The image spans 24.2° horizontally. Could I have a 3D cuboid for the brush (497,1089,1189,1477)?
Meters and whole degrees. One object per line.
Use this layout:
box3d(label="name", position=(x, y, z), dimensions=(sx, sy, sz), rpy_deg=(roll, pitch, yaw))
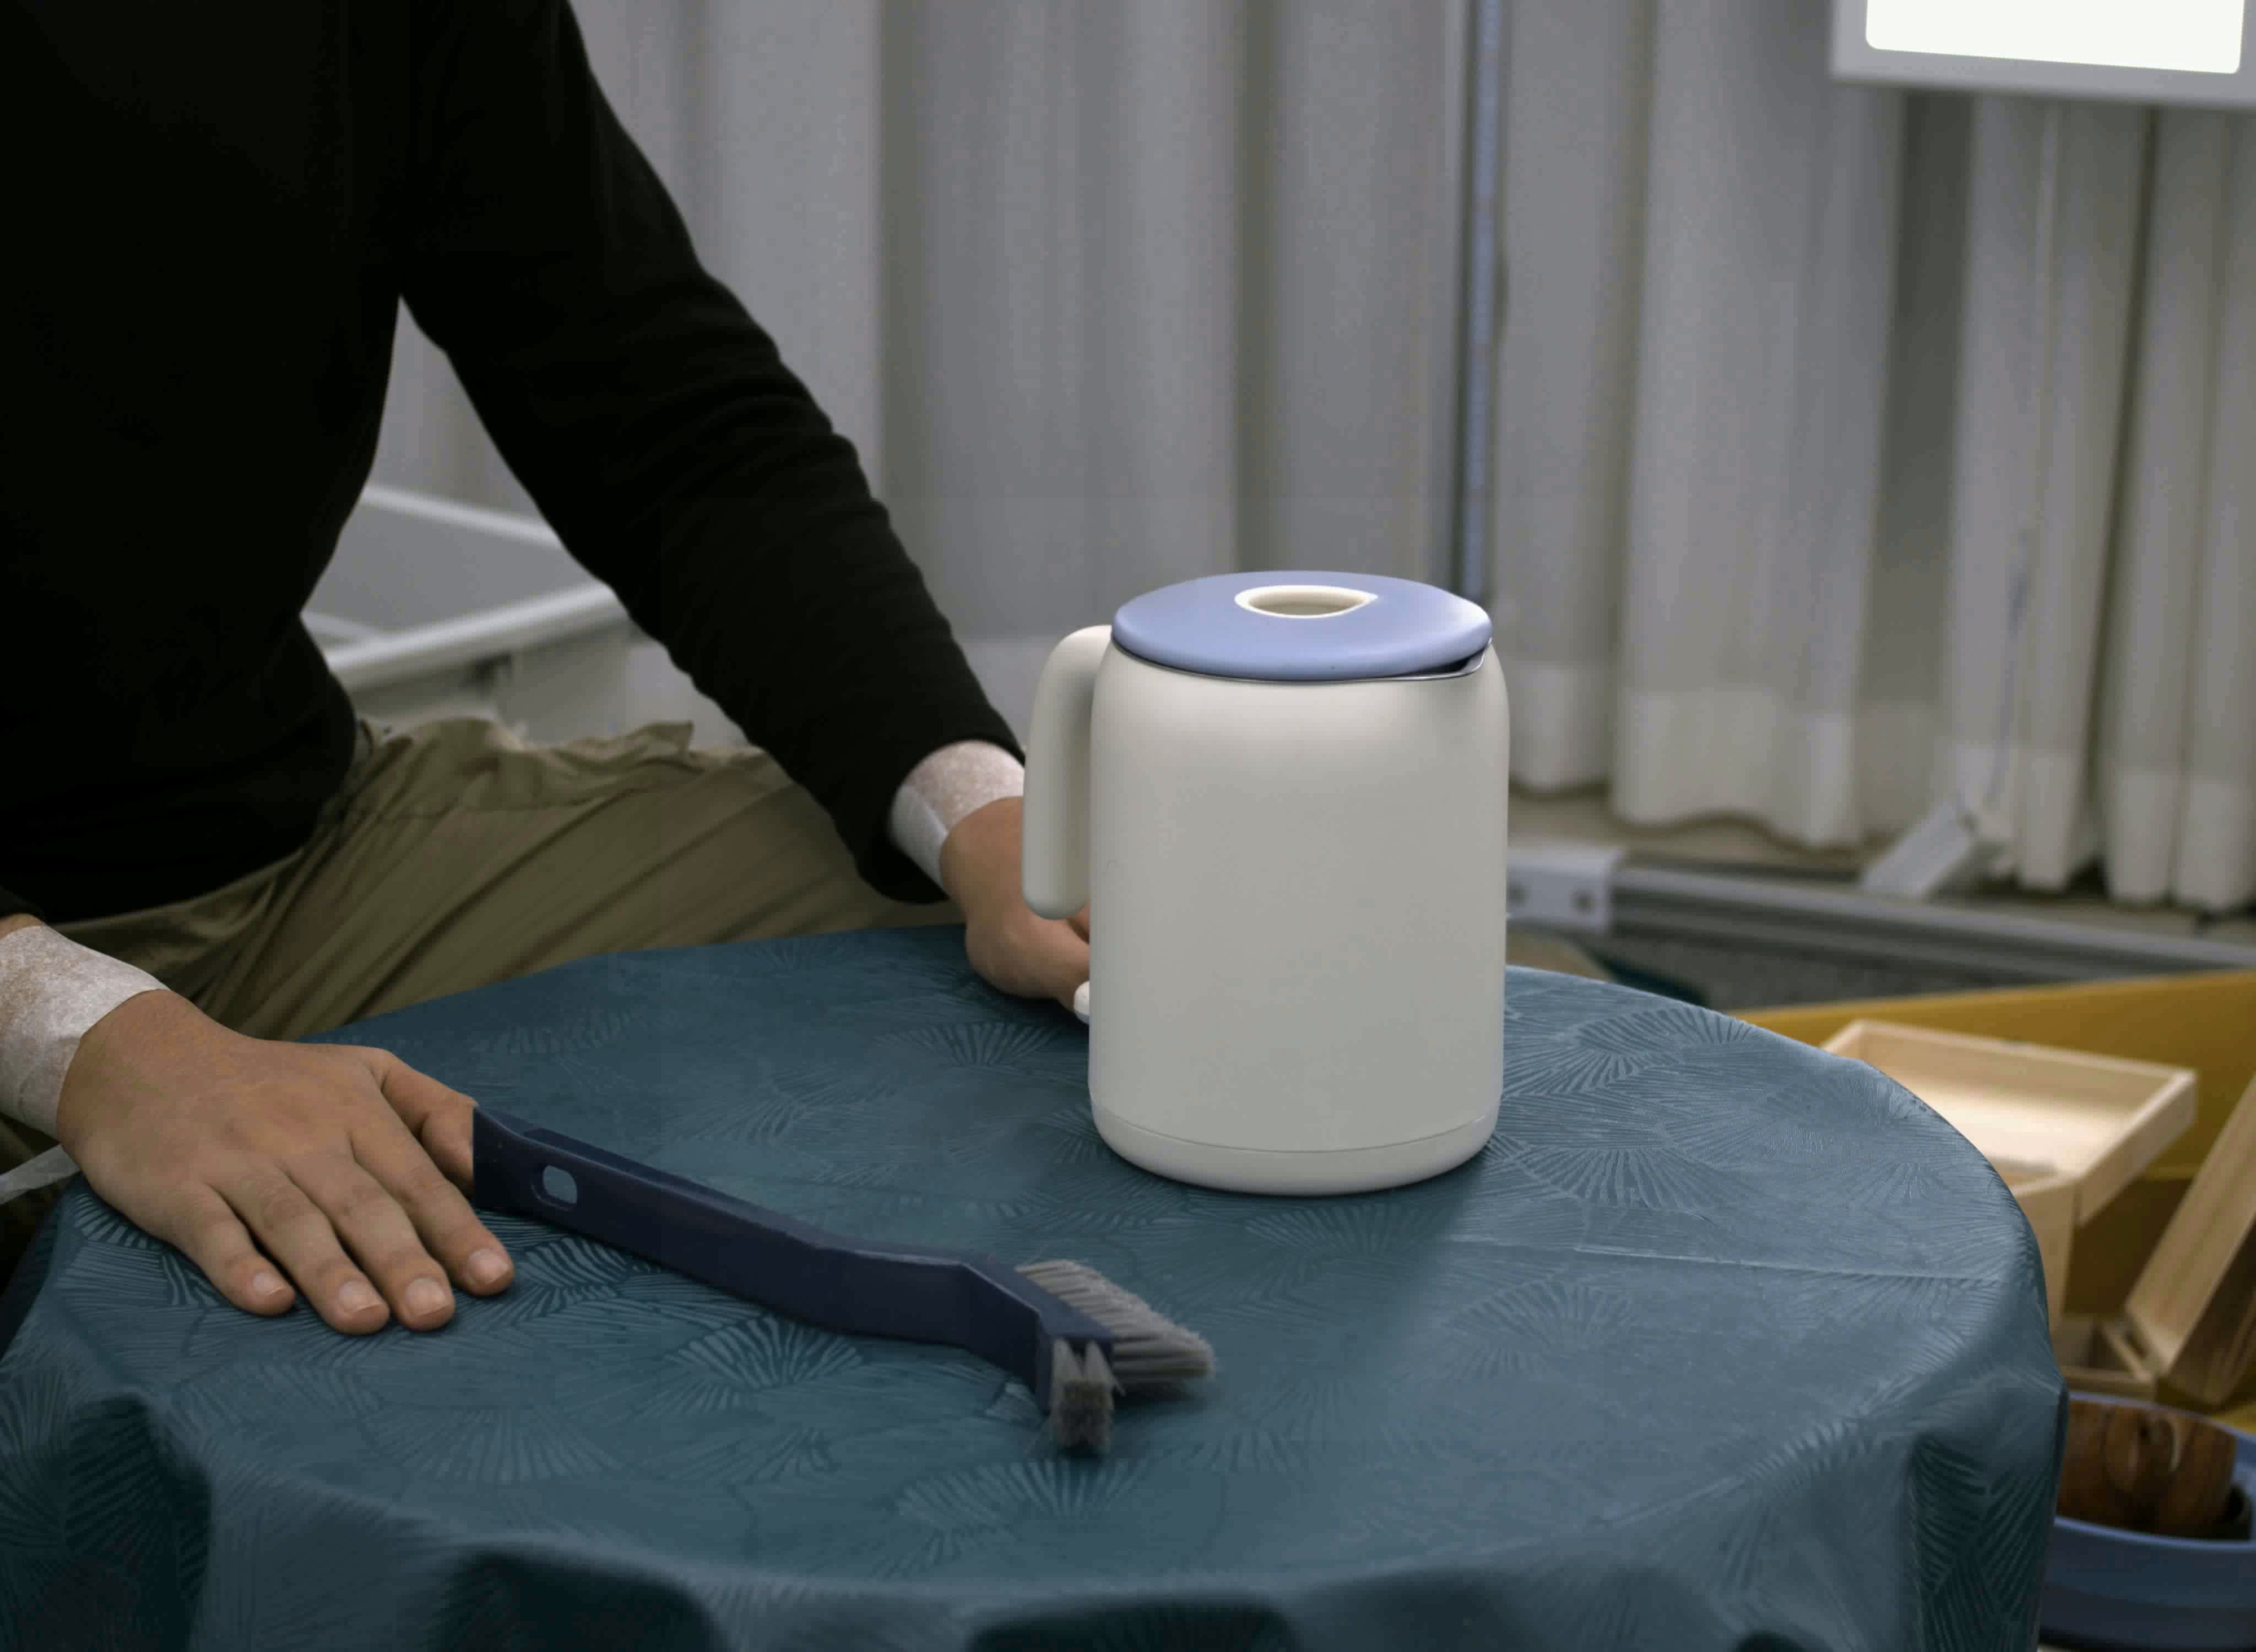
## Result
box3d(label="brush", position=(-0.100, 0.127, 1.509), dimensions=(0.270, 0.034, 0.096), rpy_deg=(12, 22, 34))

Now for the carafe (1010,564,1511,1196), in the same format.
box3d(label="carafe", position=(0.035, 0.011, 1.664), dimensions=(0.188, 0.184, 0.133), rpy_deg=(13, 20, 41))
